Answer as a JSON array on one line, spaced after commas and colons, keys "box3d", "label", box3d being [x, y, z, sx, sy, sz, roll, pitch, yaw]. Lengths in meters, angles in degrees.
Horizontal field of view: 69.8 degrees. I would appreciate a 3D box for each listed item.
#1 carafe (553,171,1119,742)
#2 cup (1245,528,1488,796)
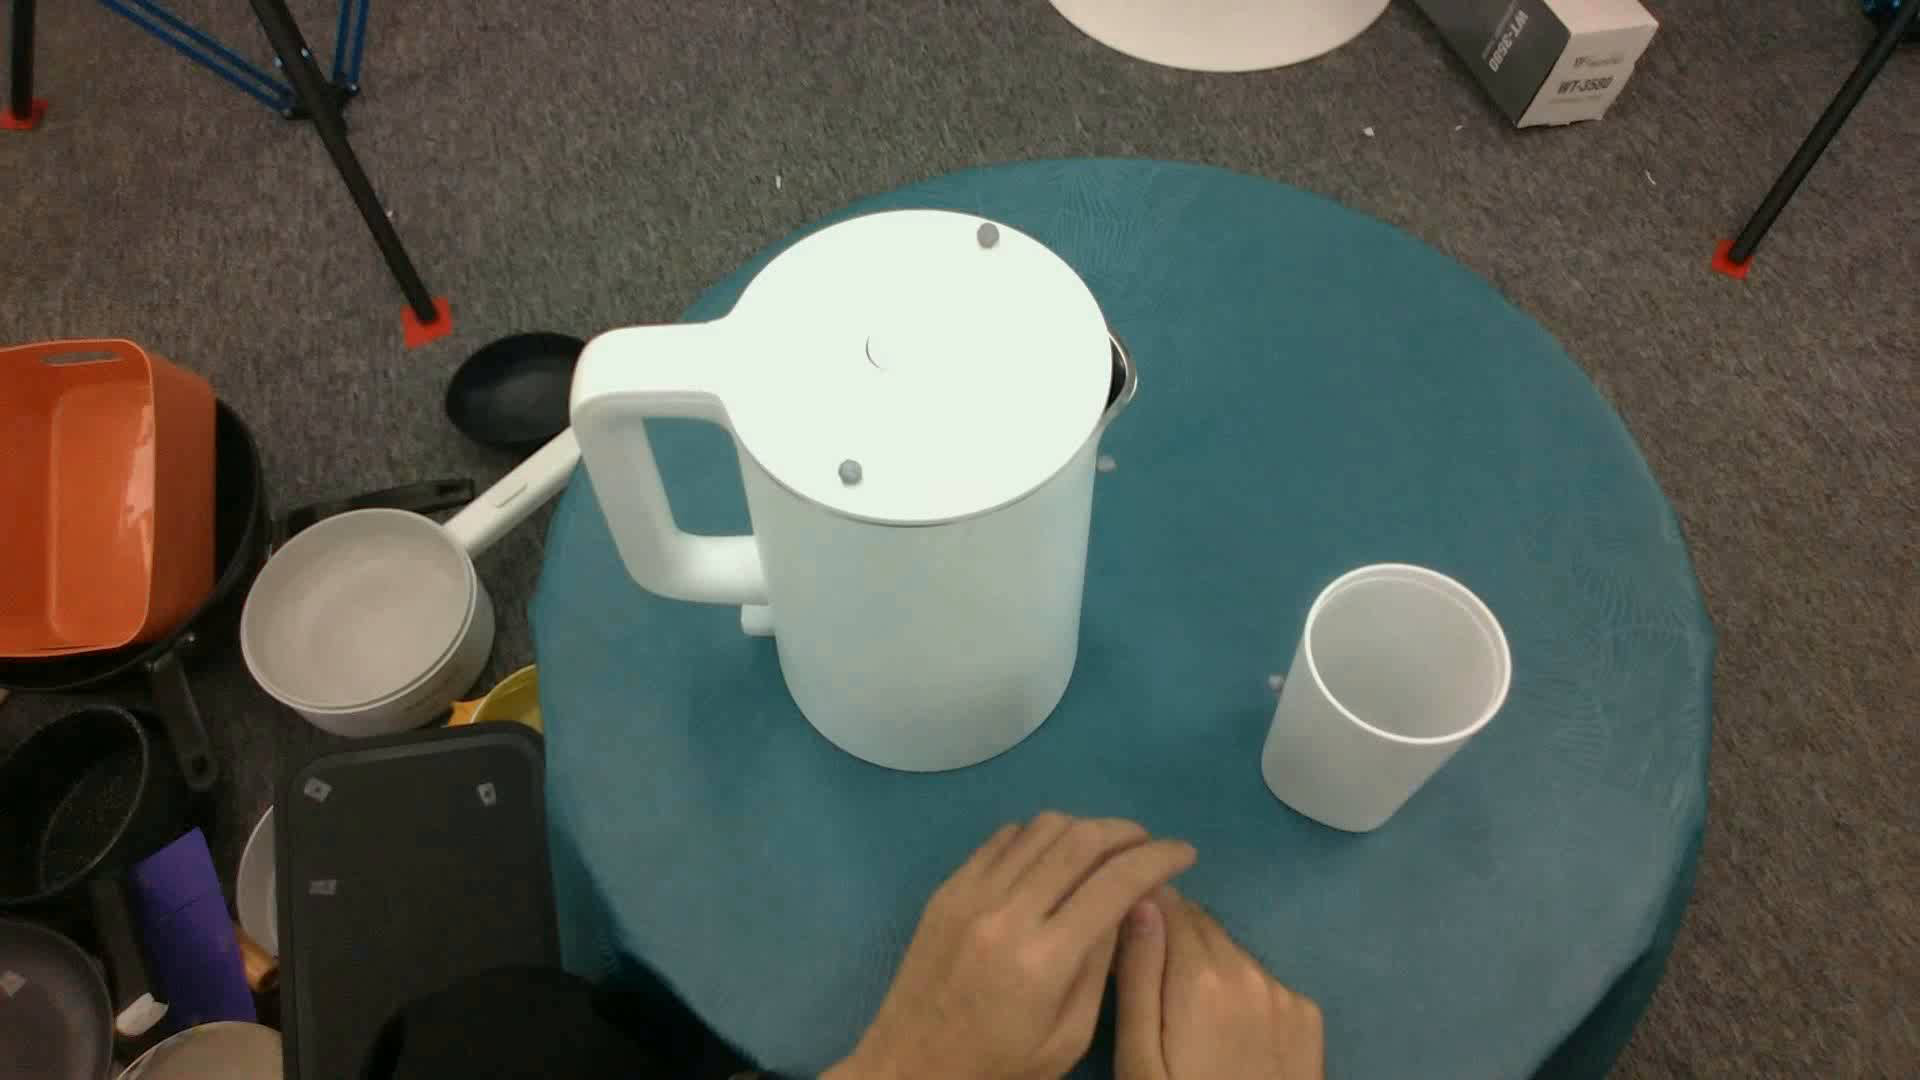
[{"box3d": [-0.049, -0.027, 0.598, 0.213, 0.239, 0.153, 1, 59, -1], "label": "carafe"}, {"box3d": [0.173, 0.059, 0.613, 0.081, 0.125, 0.082, 0, 61, 0], "label": "cup"}]
